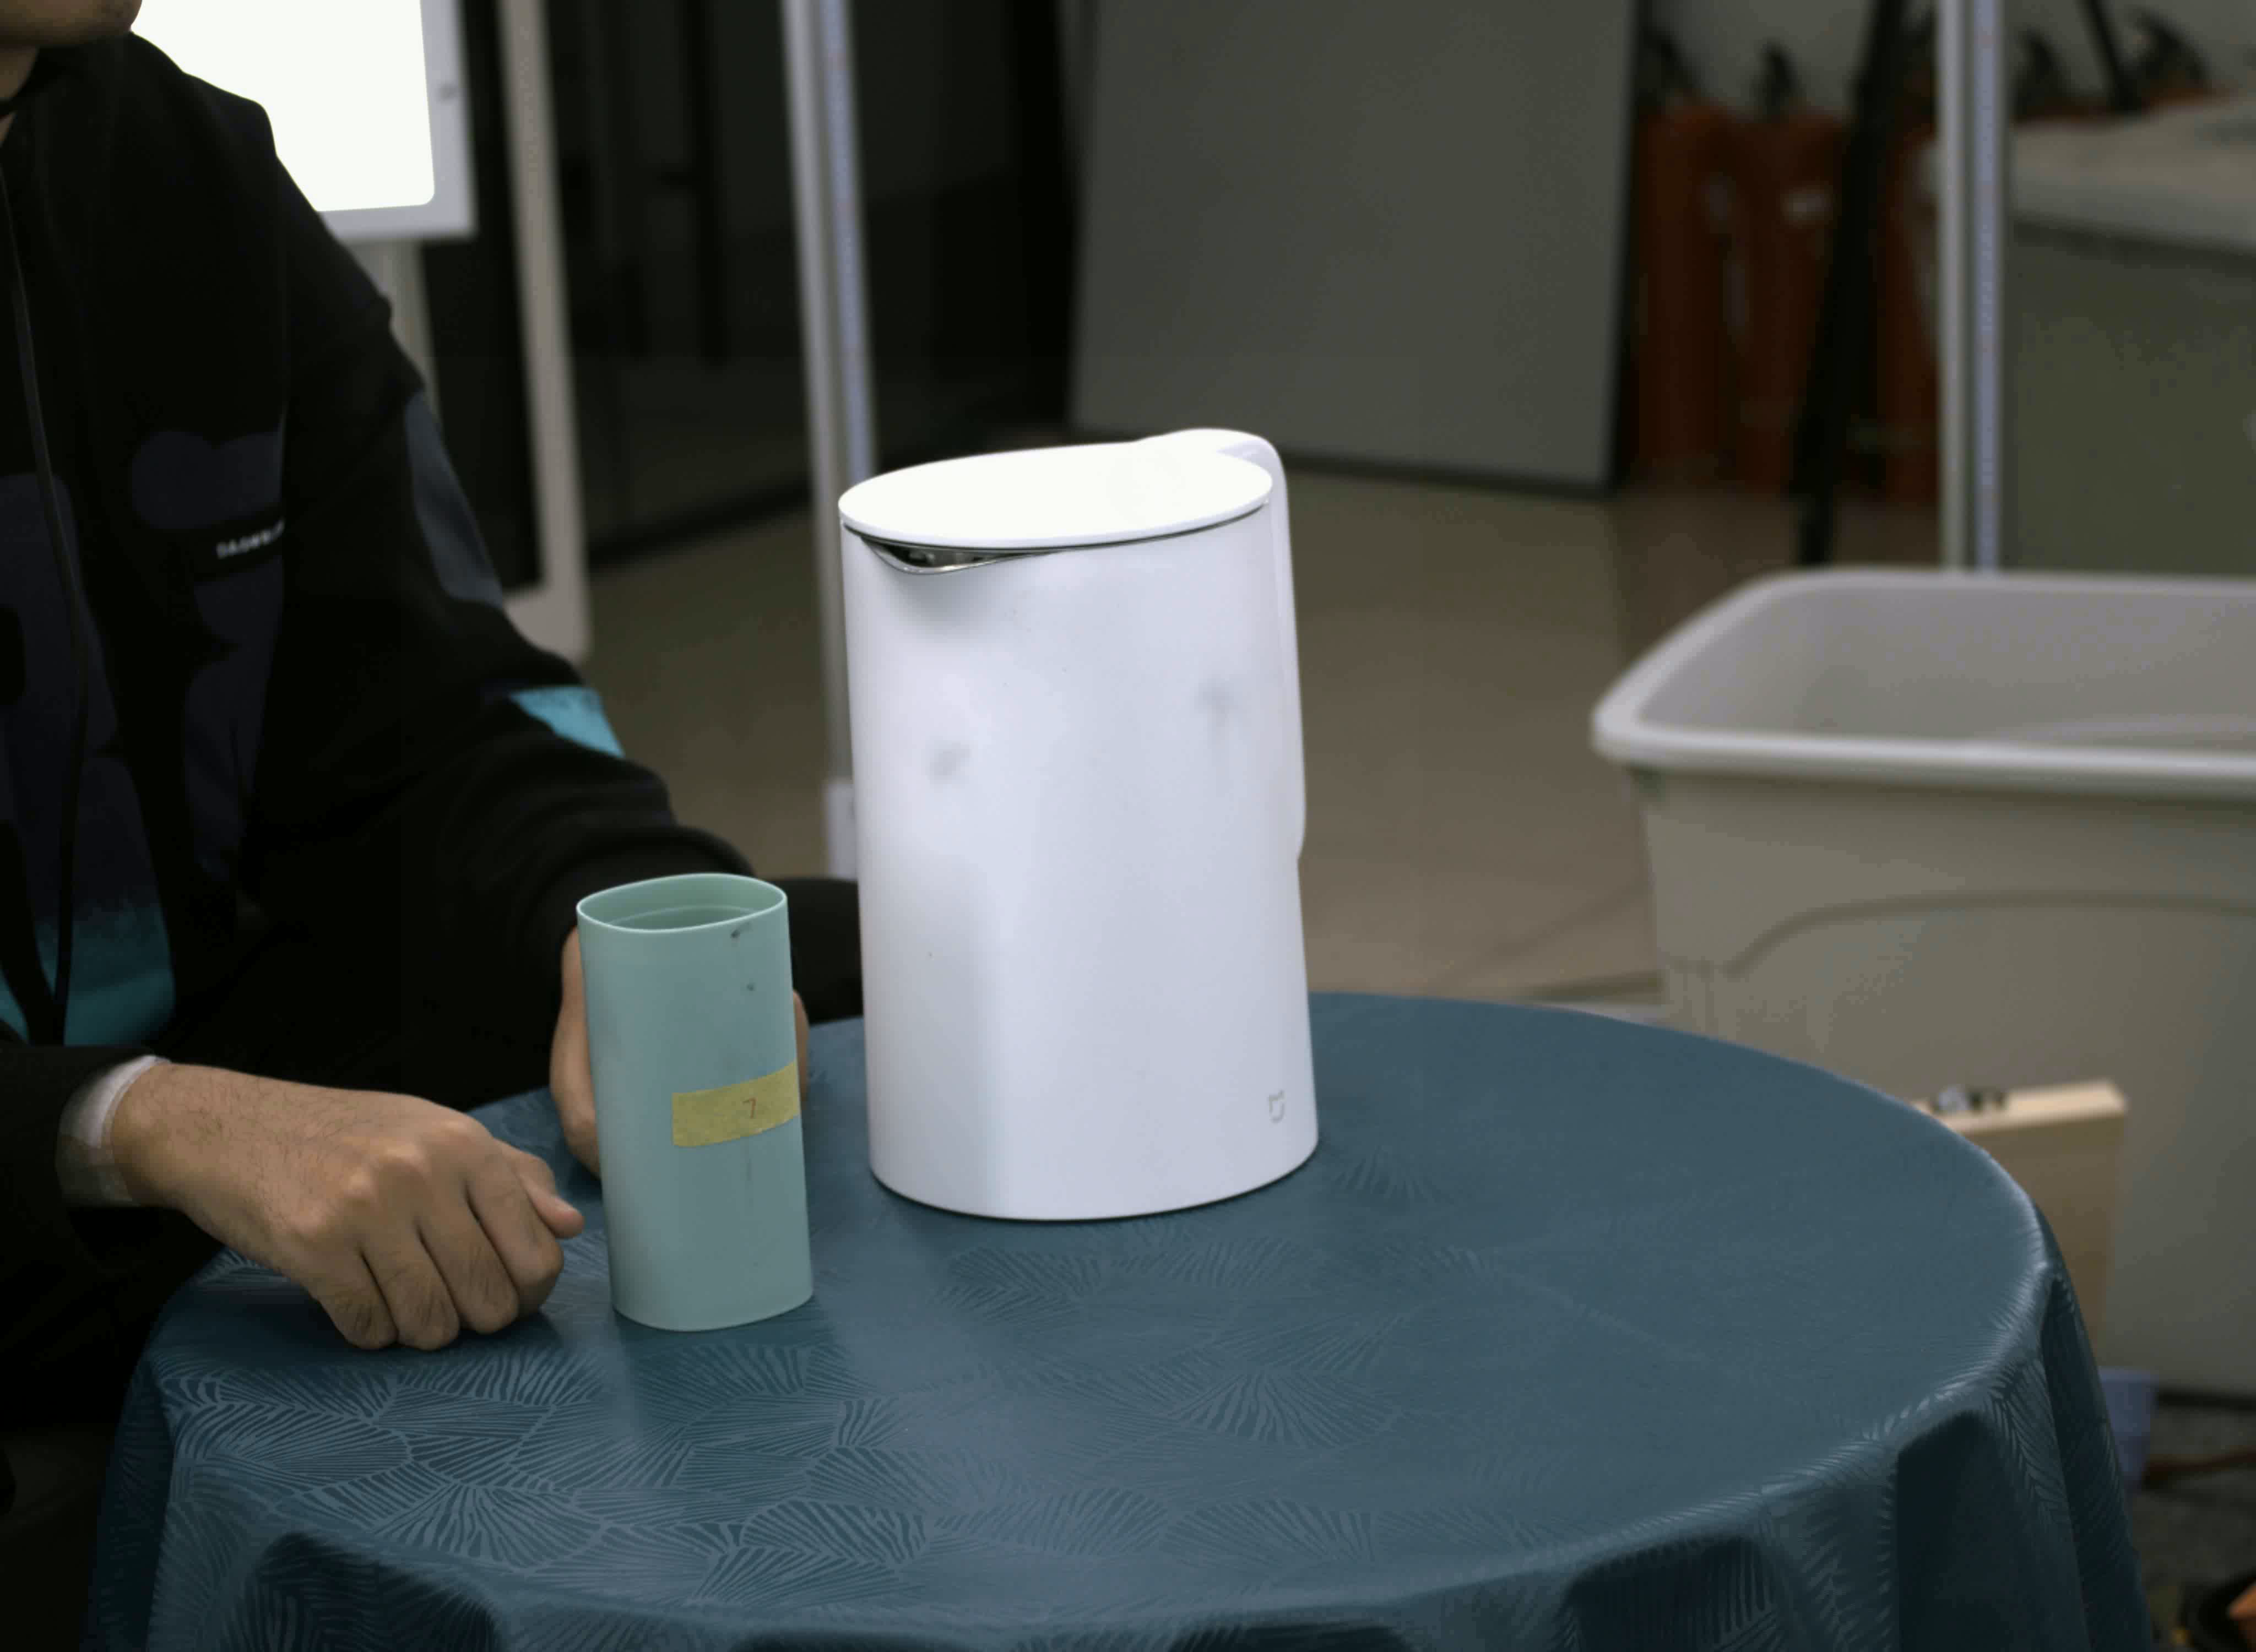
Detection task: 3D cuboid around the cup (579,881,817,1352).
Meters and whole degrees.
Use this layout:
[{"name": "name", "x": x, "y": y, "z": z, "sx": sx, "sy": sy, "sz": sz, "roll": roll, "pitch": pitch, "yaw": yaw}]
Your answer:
[{"name": "cup", "x": -0.133, "y": 0.089, "z": 1.680, "sx": 0.066, "sy": 0.134, "sz": 0.067, "roll": -4, "pitch": 15, "yaw": 0}]

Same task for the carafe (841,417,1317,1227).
[{"name": "carafe", "x": -0.002, "y": -0.007, "z": 1.806, "sx": 0.153, "sy": 0.243, "sz": 0.210, "roll": 6, "pitch": 18, "yaw": 32}]
